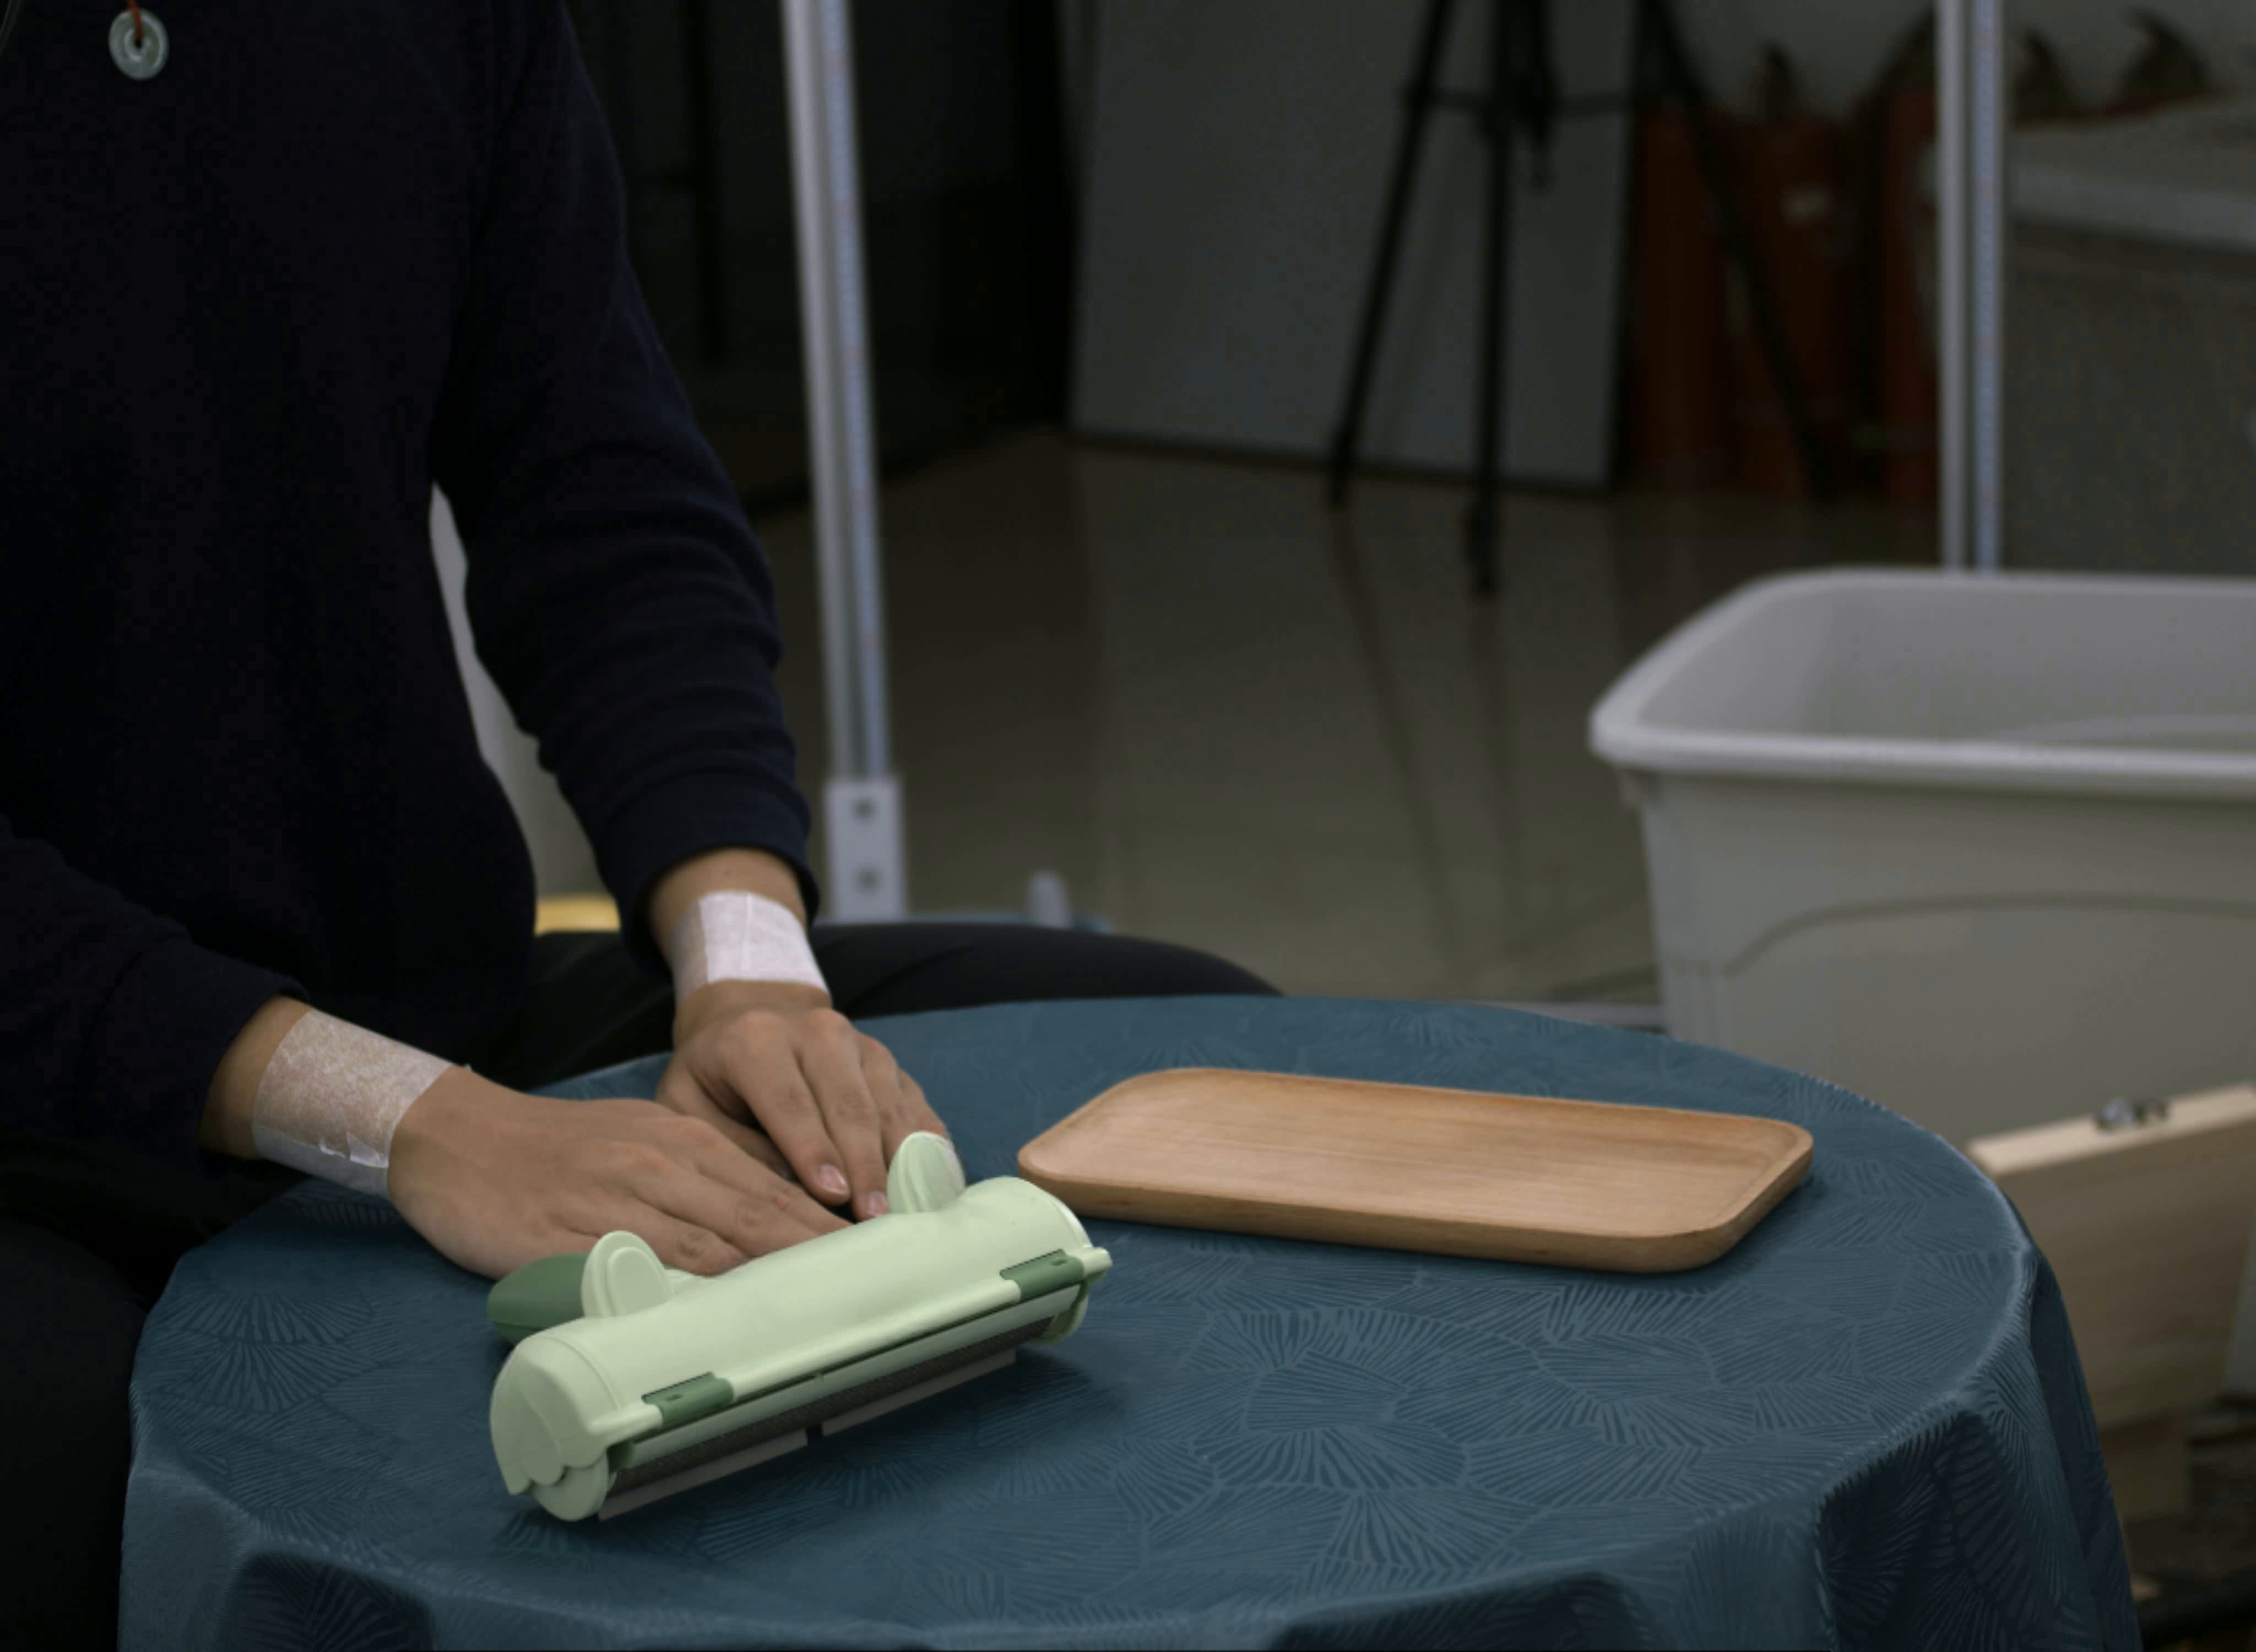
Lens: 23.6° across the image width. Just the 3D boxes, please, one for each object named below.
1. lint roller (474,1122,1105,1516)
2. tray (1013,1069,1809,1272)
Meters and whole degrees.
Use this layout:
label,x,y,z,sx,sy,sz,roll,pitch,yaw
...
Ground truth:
label,x,y,z,sx,sy,sz,roll,pitch,yaw
lint roller,-0.134,0.129,1.597,0.194,0.083,0.185,-15,23,-41
tray,0.091,0.111,1.750,0.251,0.023,0.128,2,13,28
